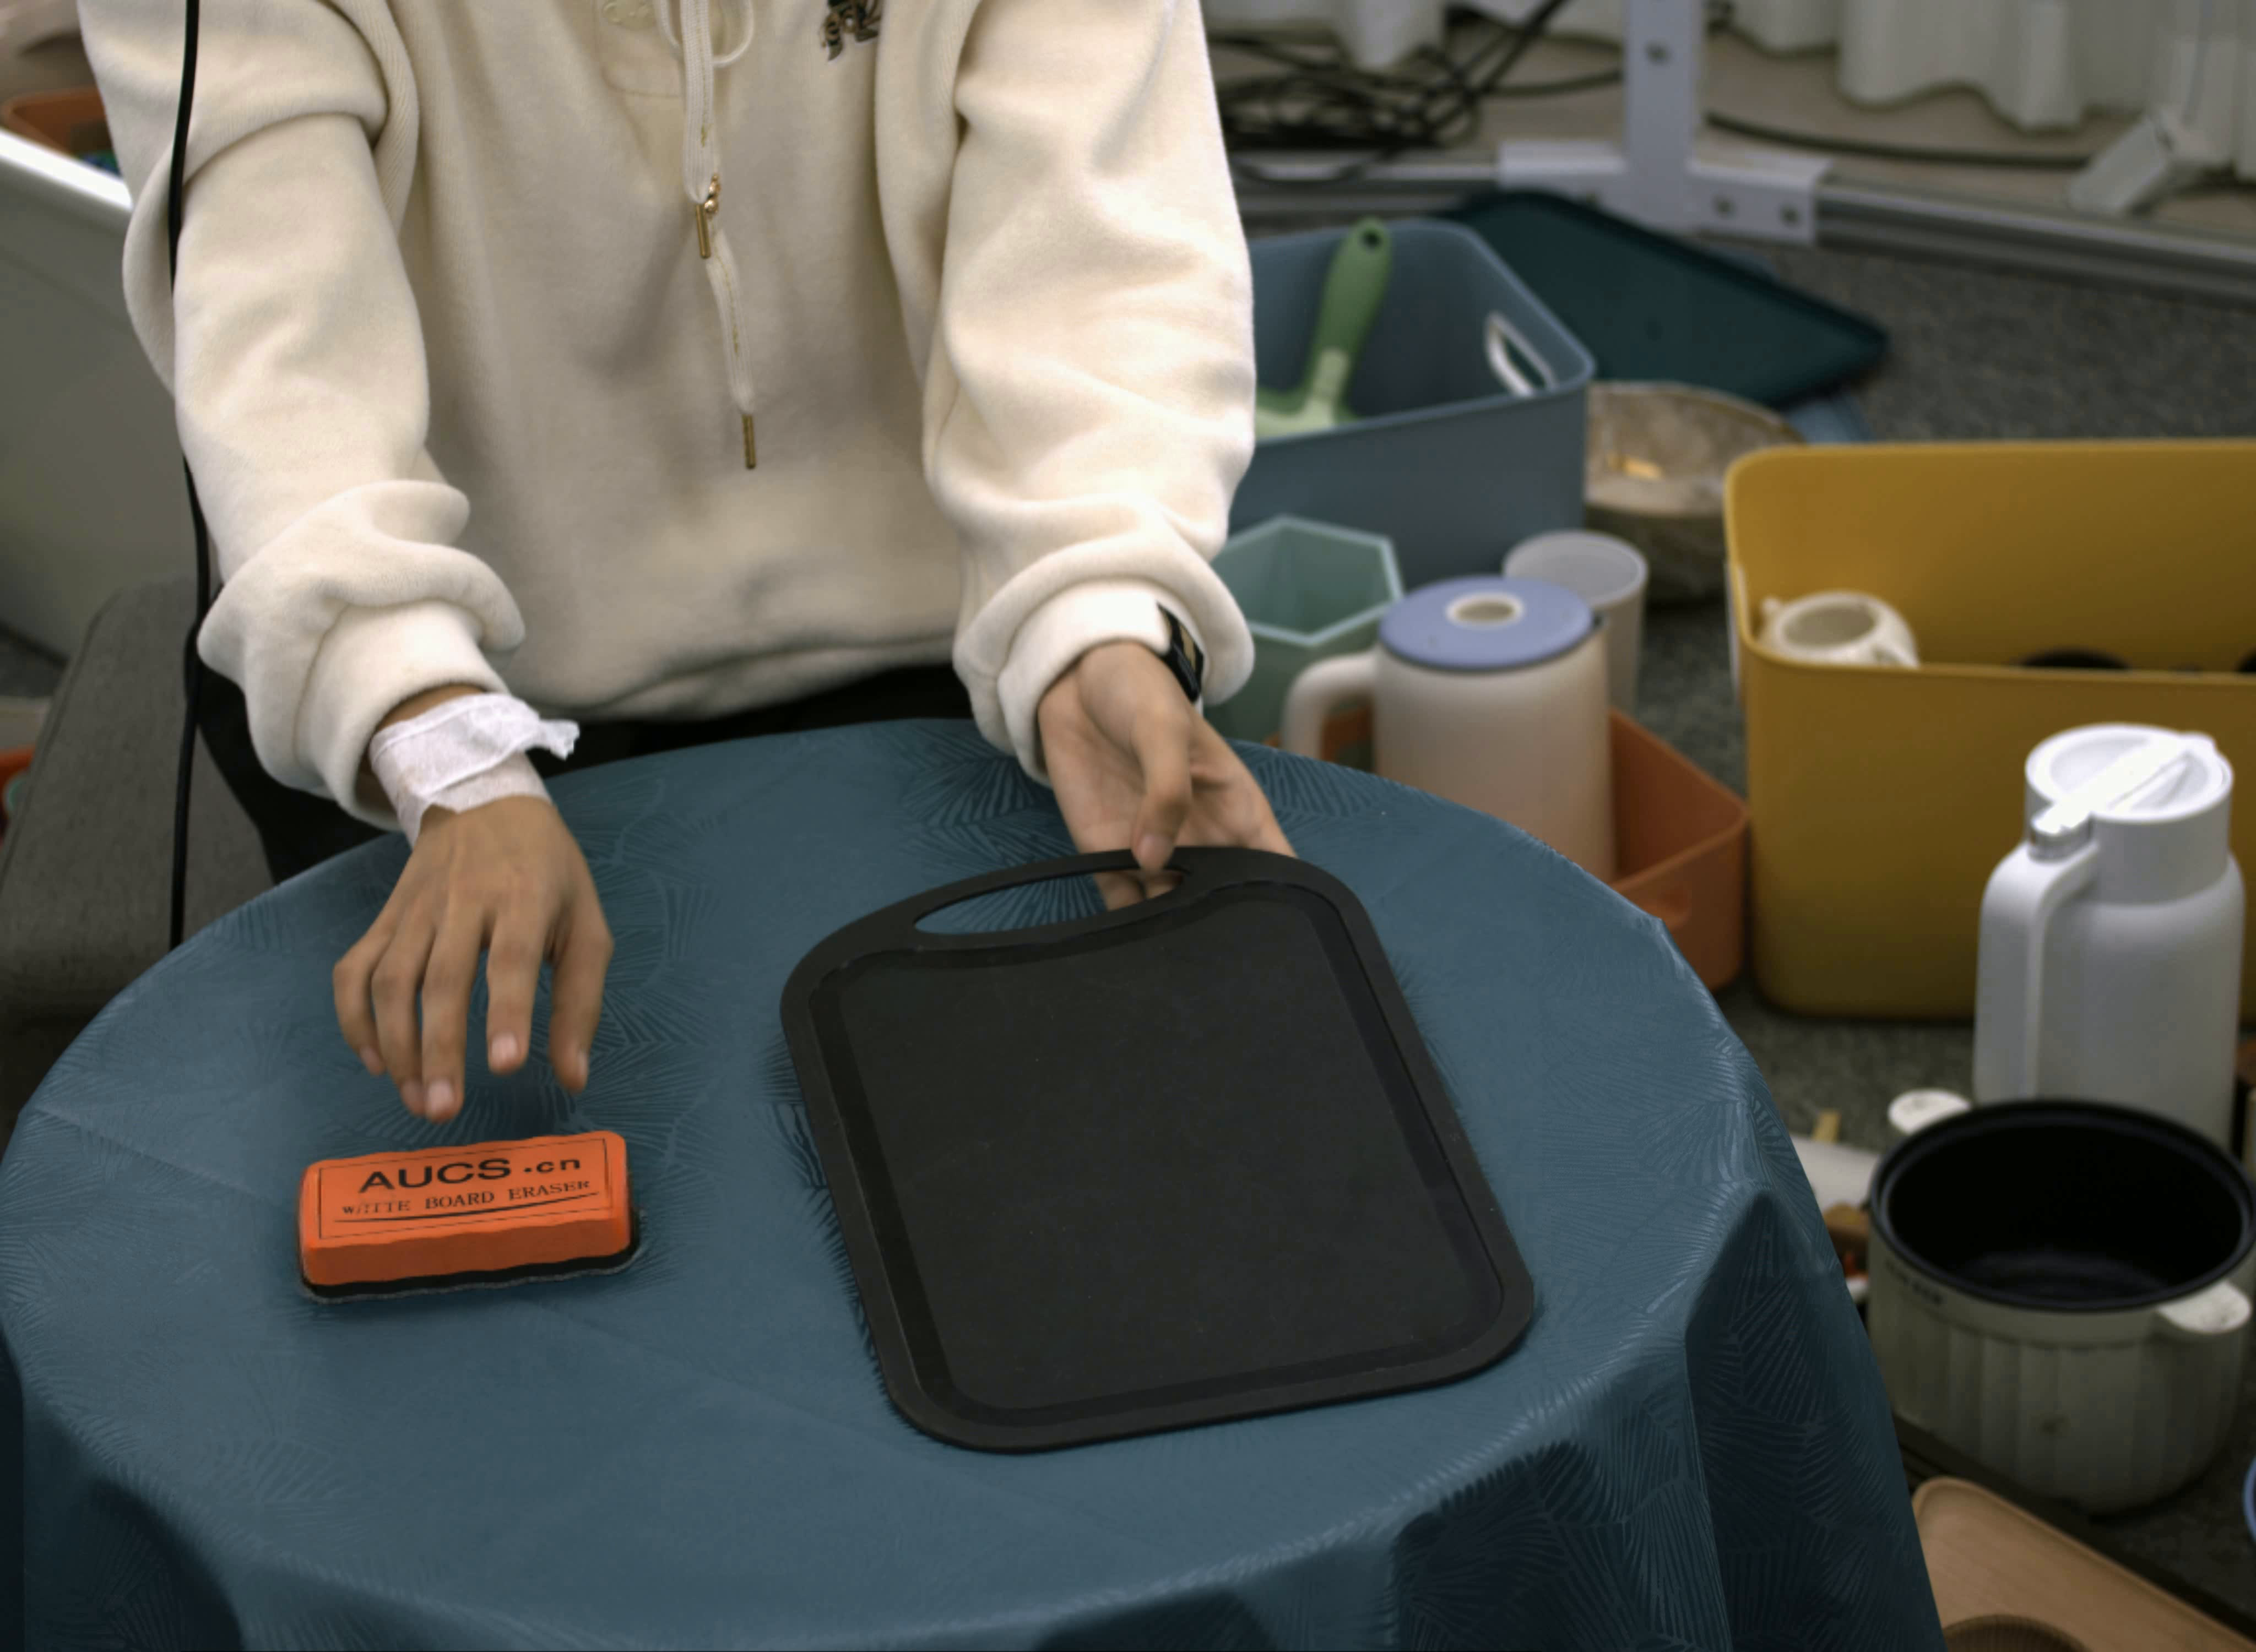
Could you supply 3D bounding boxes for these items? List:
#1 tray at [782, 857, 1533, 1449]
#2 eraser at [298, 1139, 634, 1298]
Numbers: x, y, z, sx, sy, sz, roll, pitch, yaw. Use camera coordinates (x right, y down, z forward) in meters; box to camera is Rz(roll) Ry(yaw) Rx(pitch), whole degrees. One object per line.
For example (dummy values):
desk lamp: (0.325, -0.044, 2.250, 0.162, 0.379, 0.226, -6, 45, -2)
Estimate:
tray: (0.001, 0.098, 1.873, 0.211, 0.009, 0.330, -9, 32, -8)
eraser: (-0.217, 0.129, 1.843, 0.108, 0.022, 0.059, -5, 25, -5)
